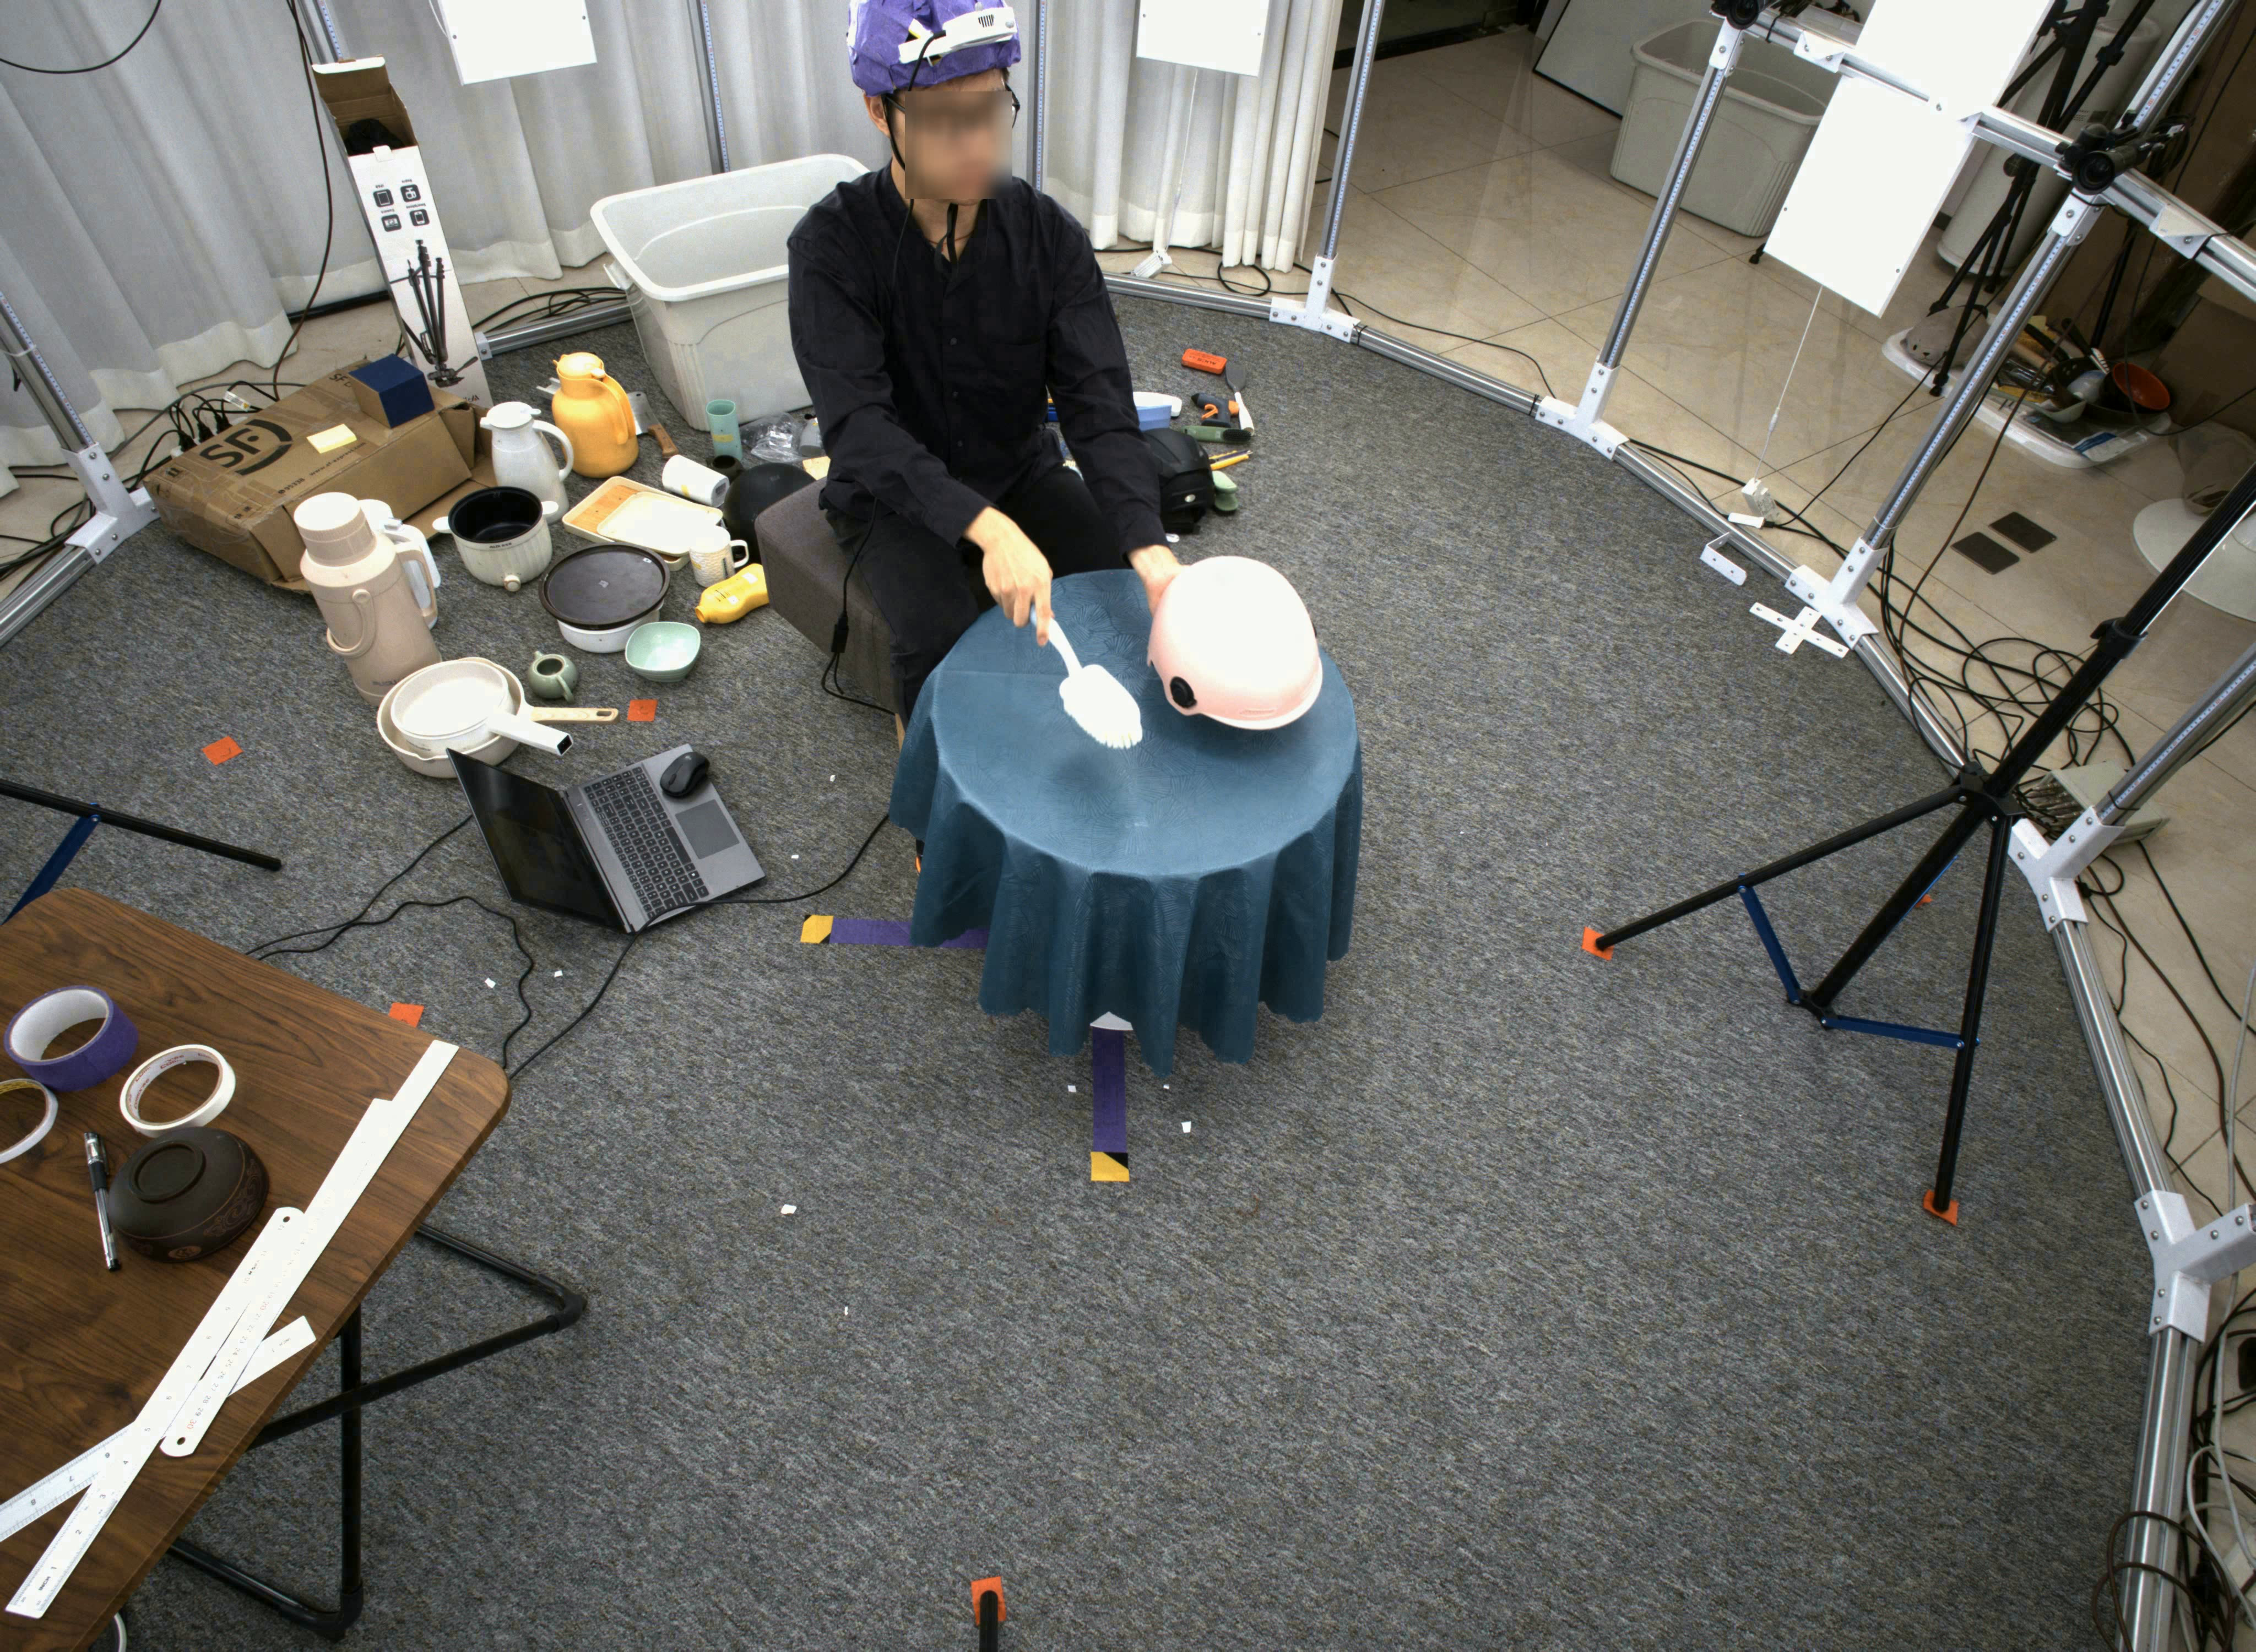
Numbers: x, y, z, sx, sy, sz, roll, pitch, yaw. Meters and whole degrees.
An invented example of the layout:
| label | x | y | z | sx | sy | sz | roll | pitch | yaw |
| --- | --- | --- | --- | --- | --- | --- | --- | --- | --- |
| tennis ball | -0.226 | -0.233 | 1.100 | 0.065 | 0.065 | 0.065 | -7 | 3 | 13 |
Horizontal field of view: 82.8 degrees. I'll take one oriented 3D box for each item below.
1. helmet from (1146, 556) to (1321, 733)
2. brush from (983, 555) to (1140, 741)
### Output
| label | x | y | z | sx | sy | sz | roll | pitch | yaw |
| --- | --- | --- | --- | --- | --- | --- | --- | --- | --- |
| helmet | 0.147 | -0.266 | 1.748 | 0.235 | 0.155 | 0.271 | -27 | 57 | -18 |
| brush | -0.089 | -0.233 | 1.710 | 0.083 | 0.083 | 0.330 | -12 | 56 | -52 |
